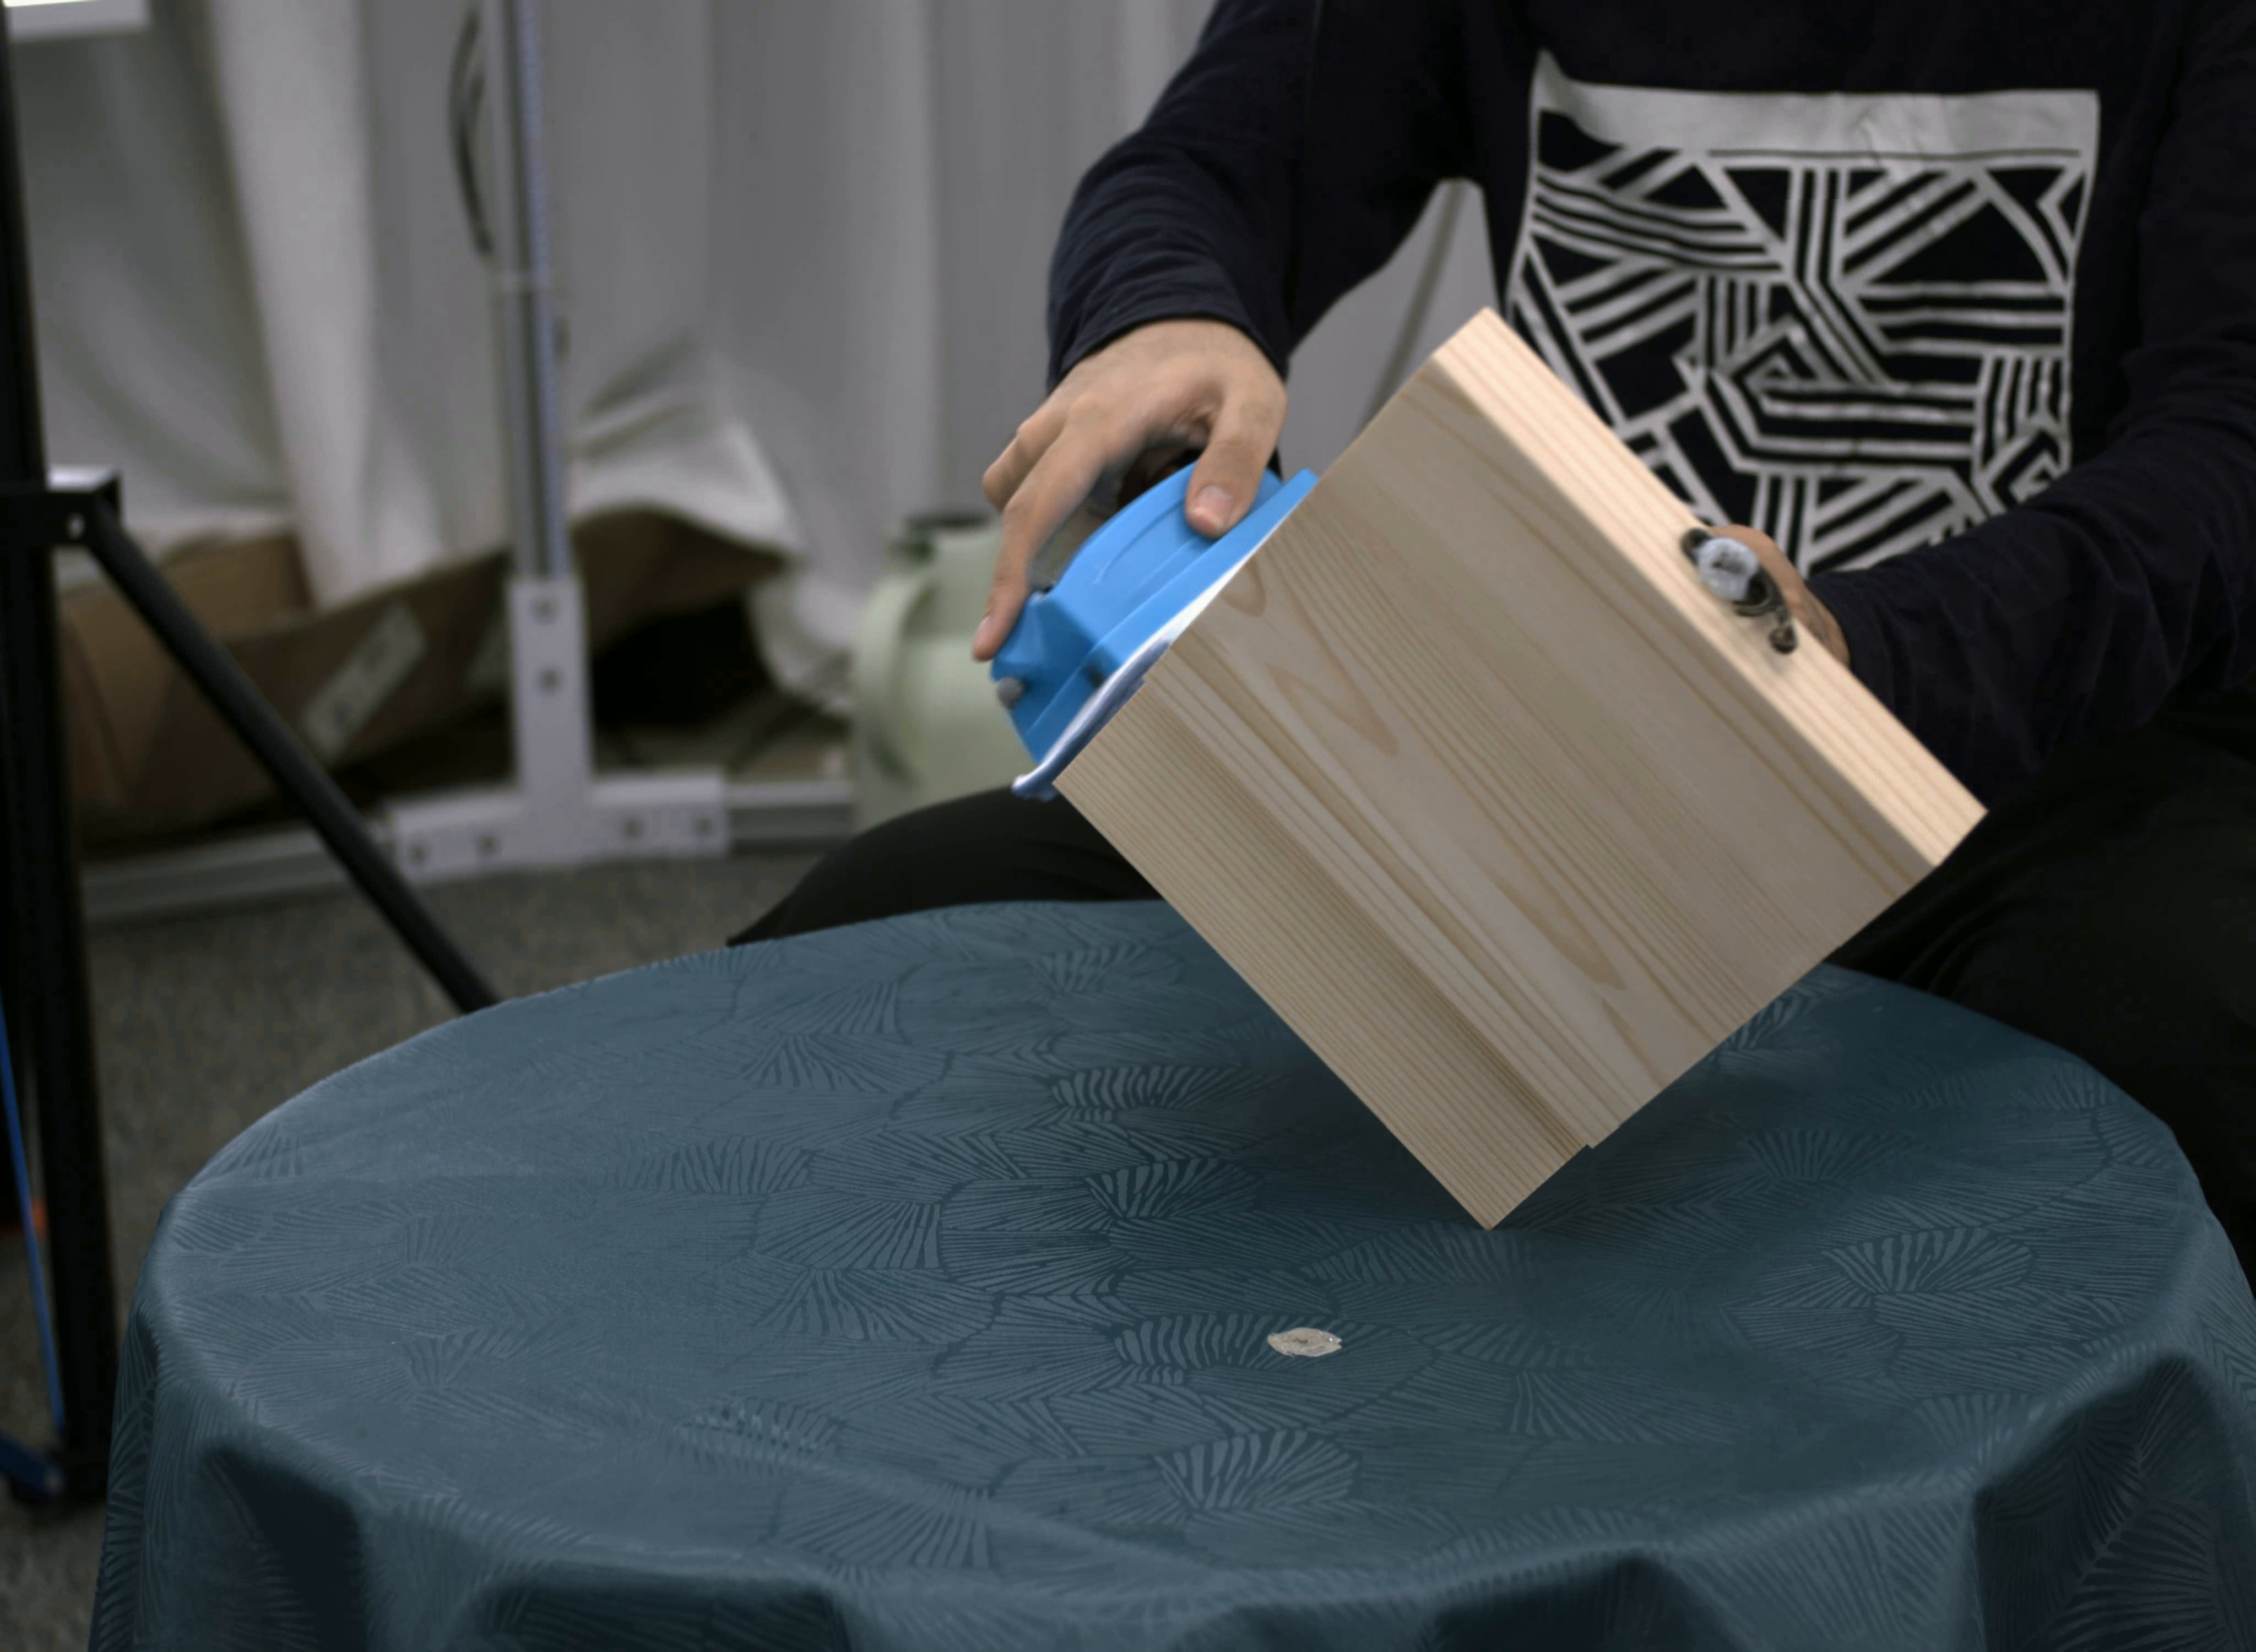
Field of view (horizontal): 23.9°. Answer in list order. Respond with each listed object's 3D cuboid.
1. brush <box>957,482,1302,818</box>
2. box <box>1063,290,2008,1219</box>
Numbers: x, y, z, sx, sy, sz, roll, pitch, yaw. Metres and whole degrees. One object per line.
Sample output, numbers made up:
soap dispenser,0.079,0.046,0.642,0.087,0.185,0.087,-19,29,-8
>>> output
brush,-0.005,-0.058,1.613,0.085,0.056,0.142,-37,6,37
box,0.136,-0.045,1.488,0.256,0.182,0.262,-46,-2,38
